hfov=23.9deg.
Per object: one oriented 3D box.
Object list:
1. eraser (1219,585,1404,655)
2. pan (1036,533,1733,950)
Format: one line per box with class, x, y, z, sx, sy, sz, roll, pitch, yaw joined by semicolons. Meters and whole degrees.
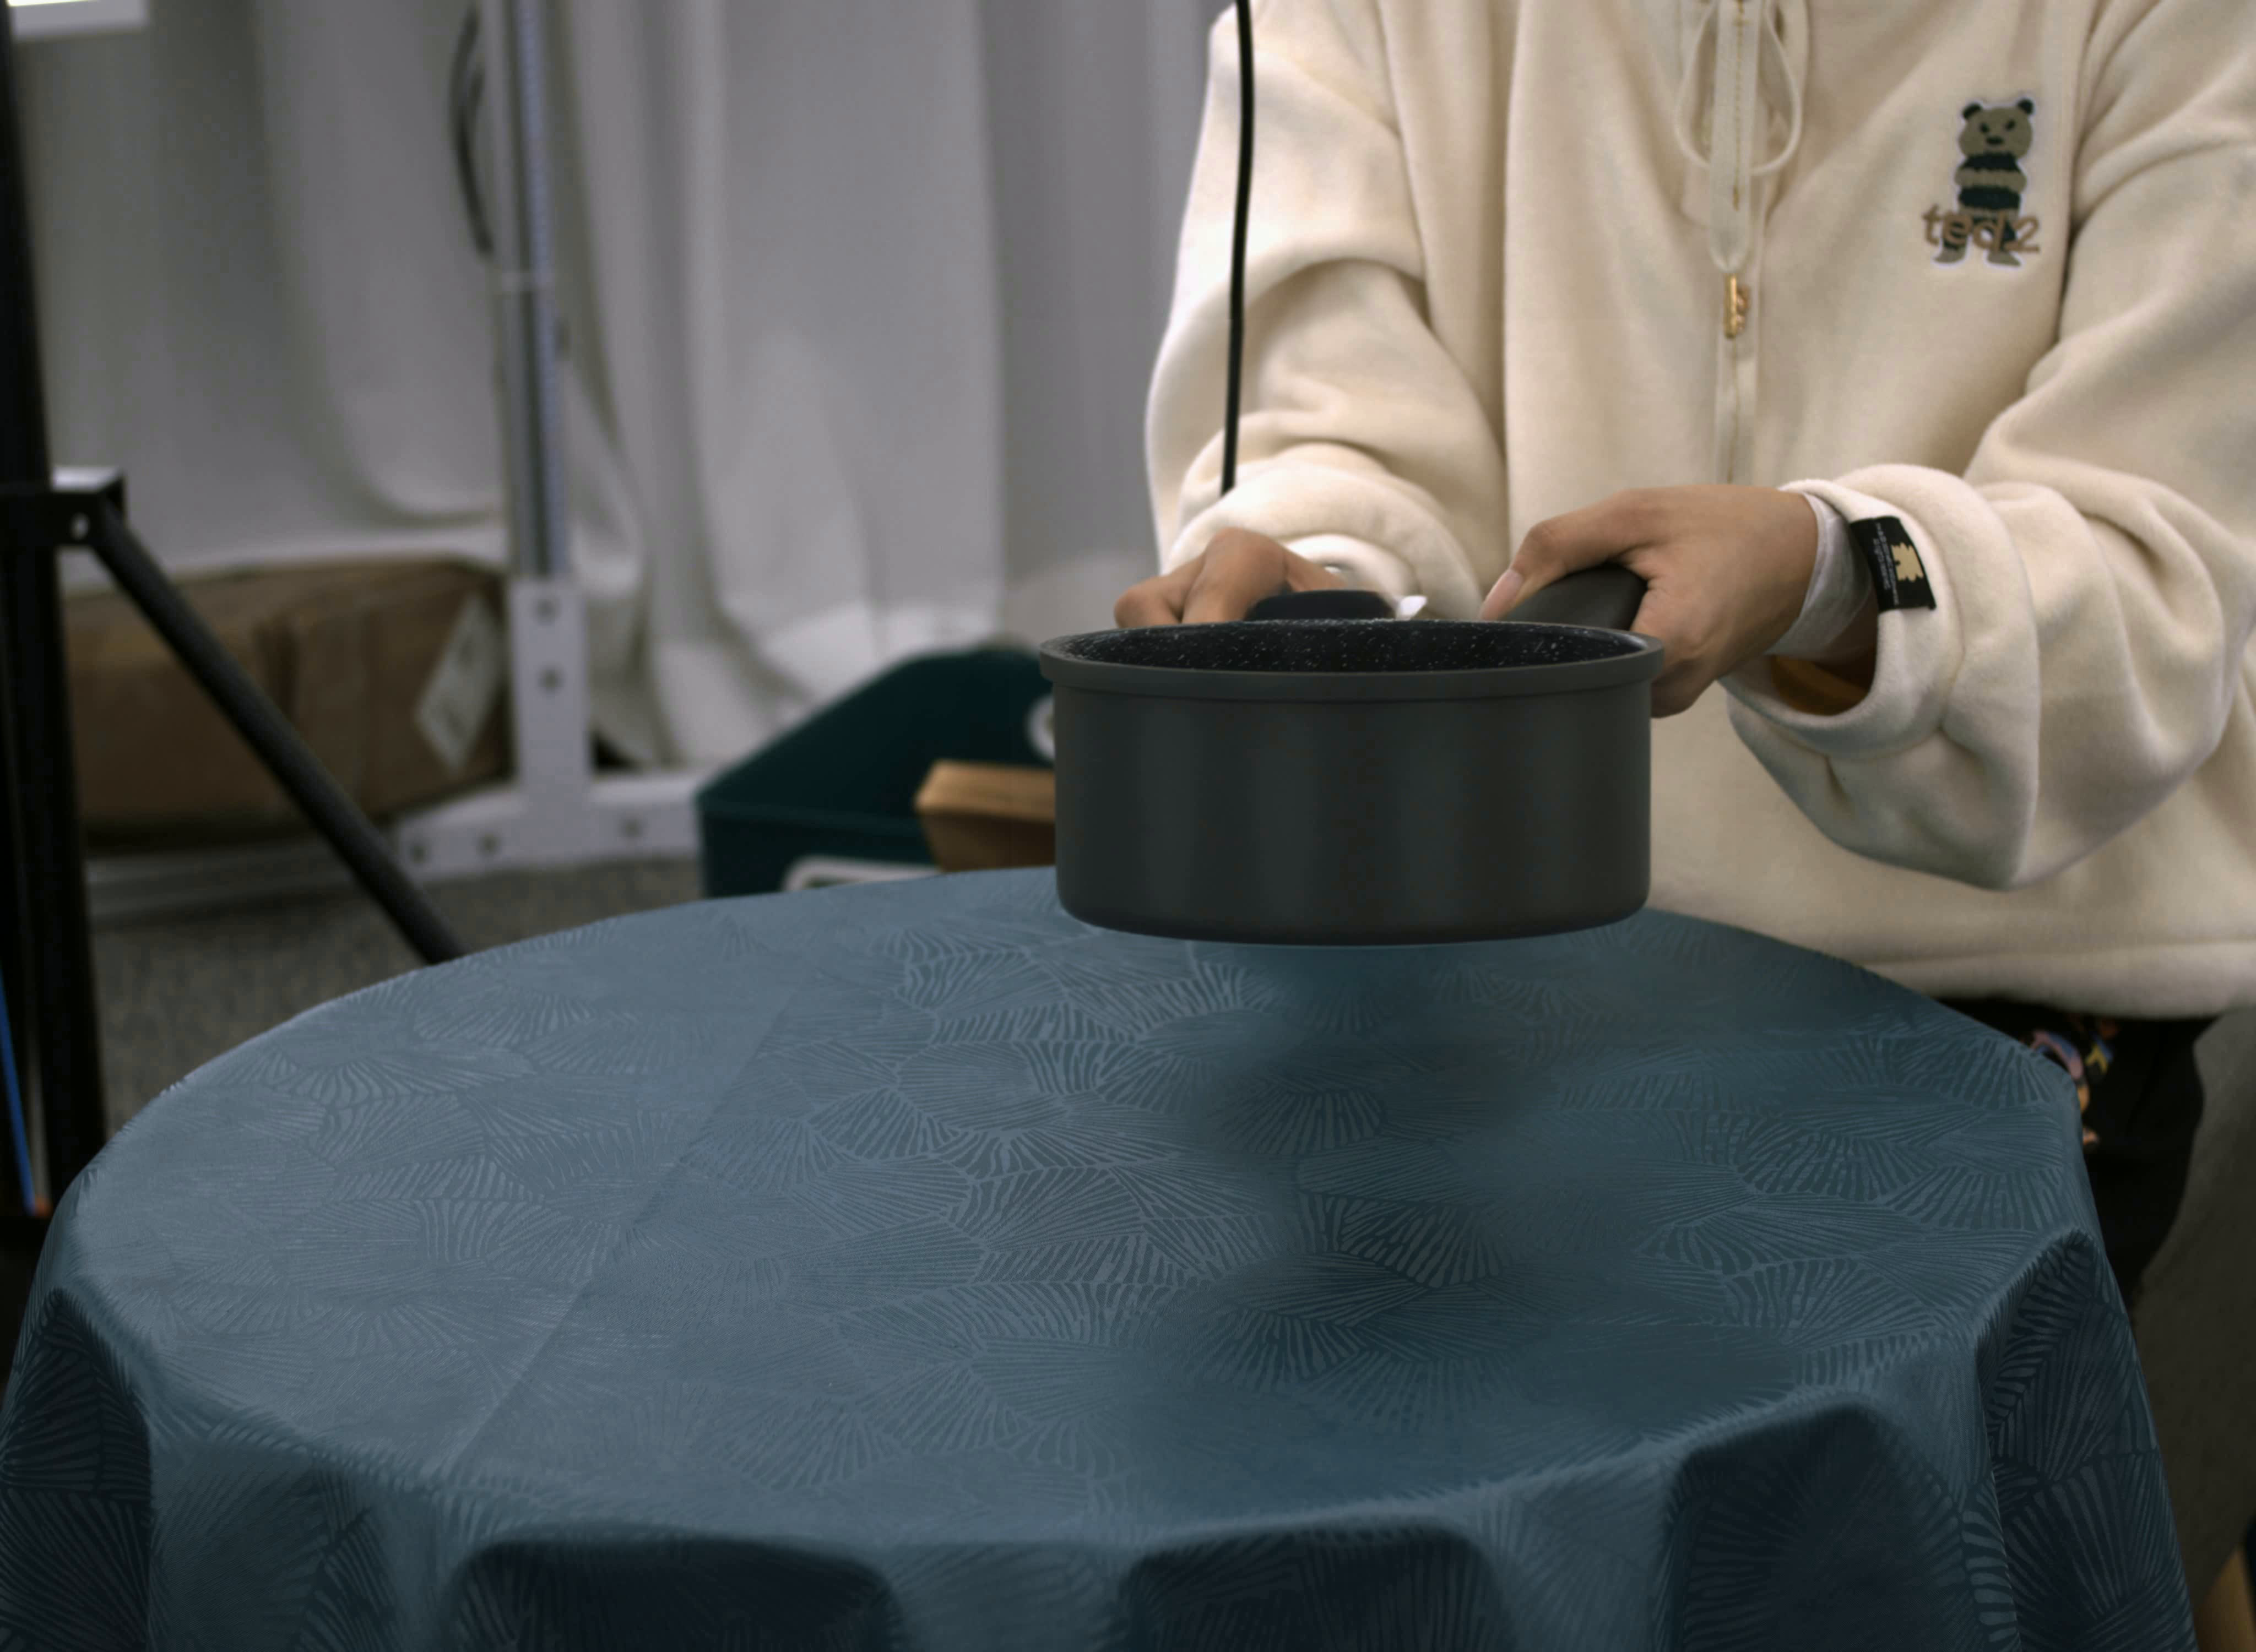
eraser;0.054;-0.045;1.595;0.053;0.031;0.125;-4;-9;-1
pan;0.097;-0.026;1.516;0.175;0.087;0.322;2;9;28
